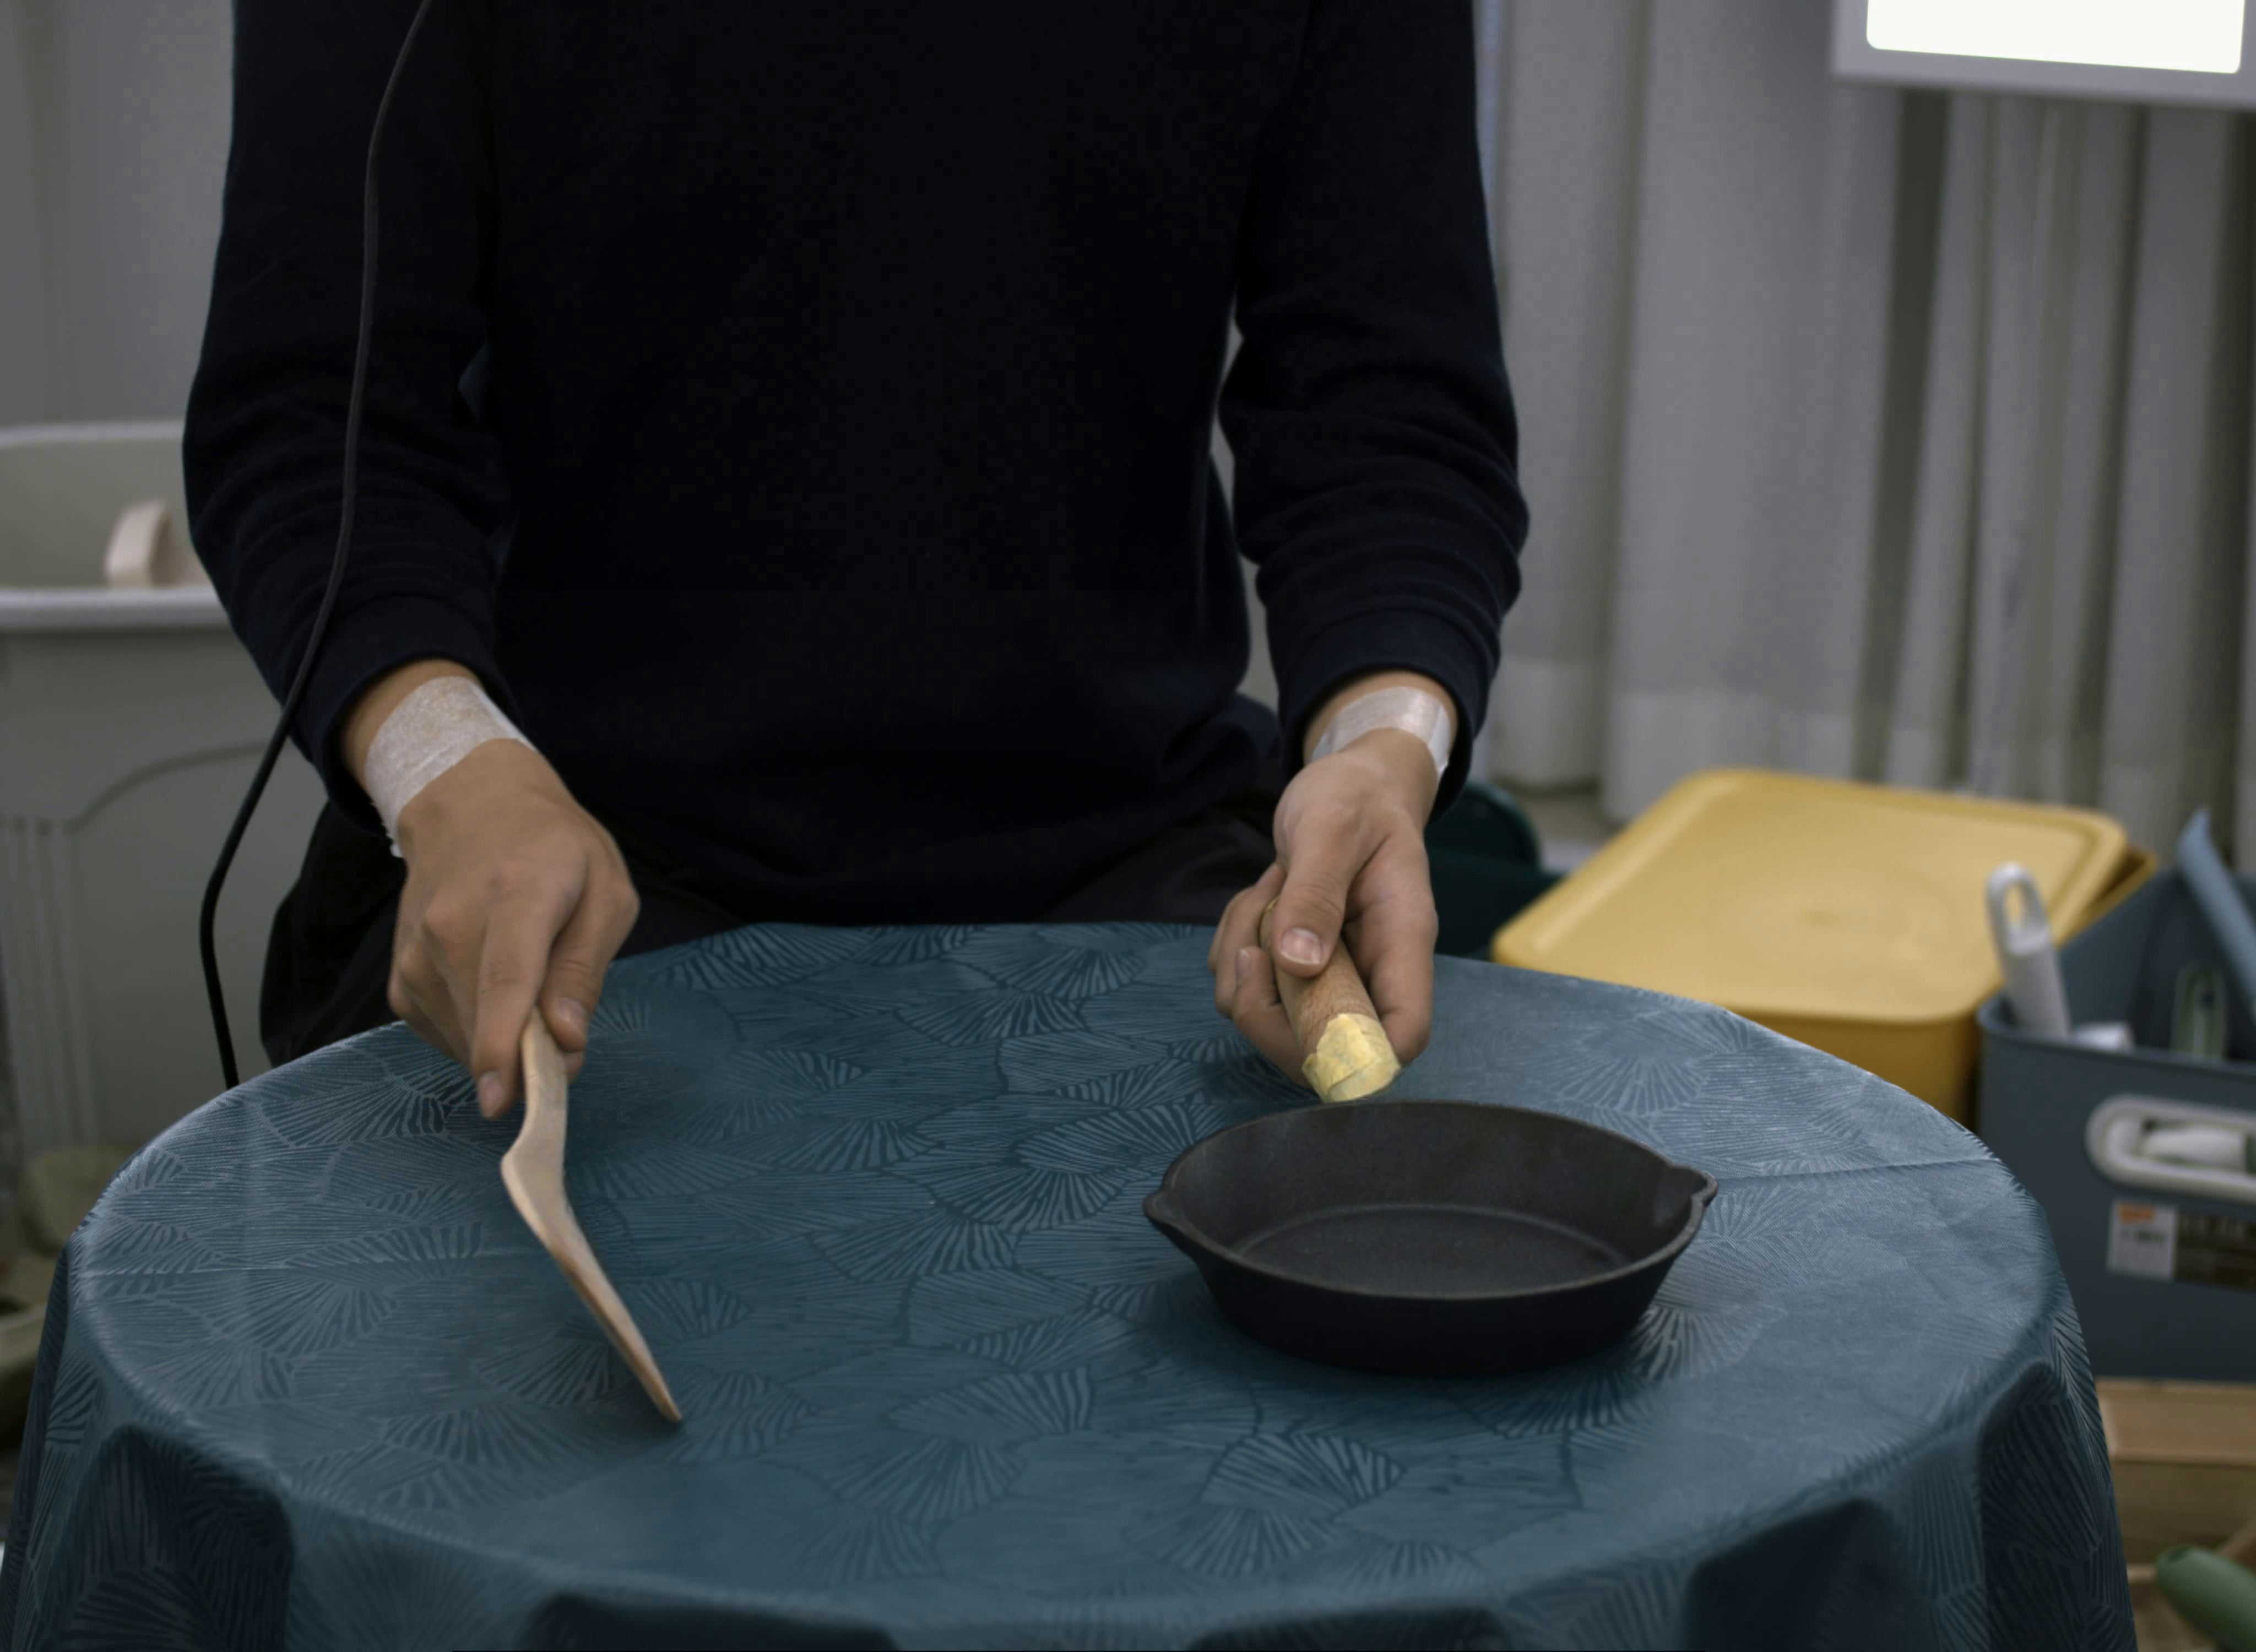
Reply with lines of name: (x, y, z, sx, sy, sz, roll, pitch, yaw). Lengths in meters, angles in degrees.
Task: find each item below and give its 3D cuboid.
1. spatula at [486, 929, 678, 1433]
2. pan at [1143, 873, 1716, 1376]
spatula: (-0.169, 0.091, 1.553, 0.016, 0.081, 0.324, -31, 21, 1)
pan: (0.077, 0.087, 1.604, 0.169, 0.050, 0.321, -1, 19, -7)
